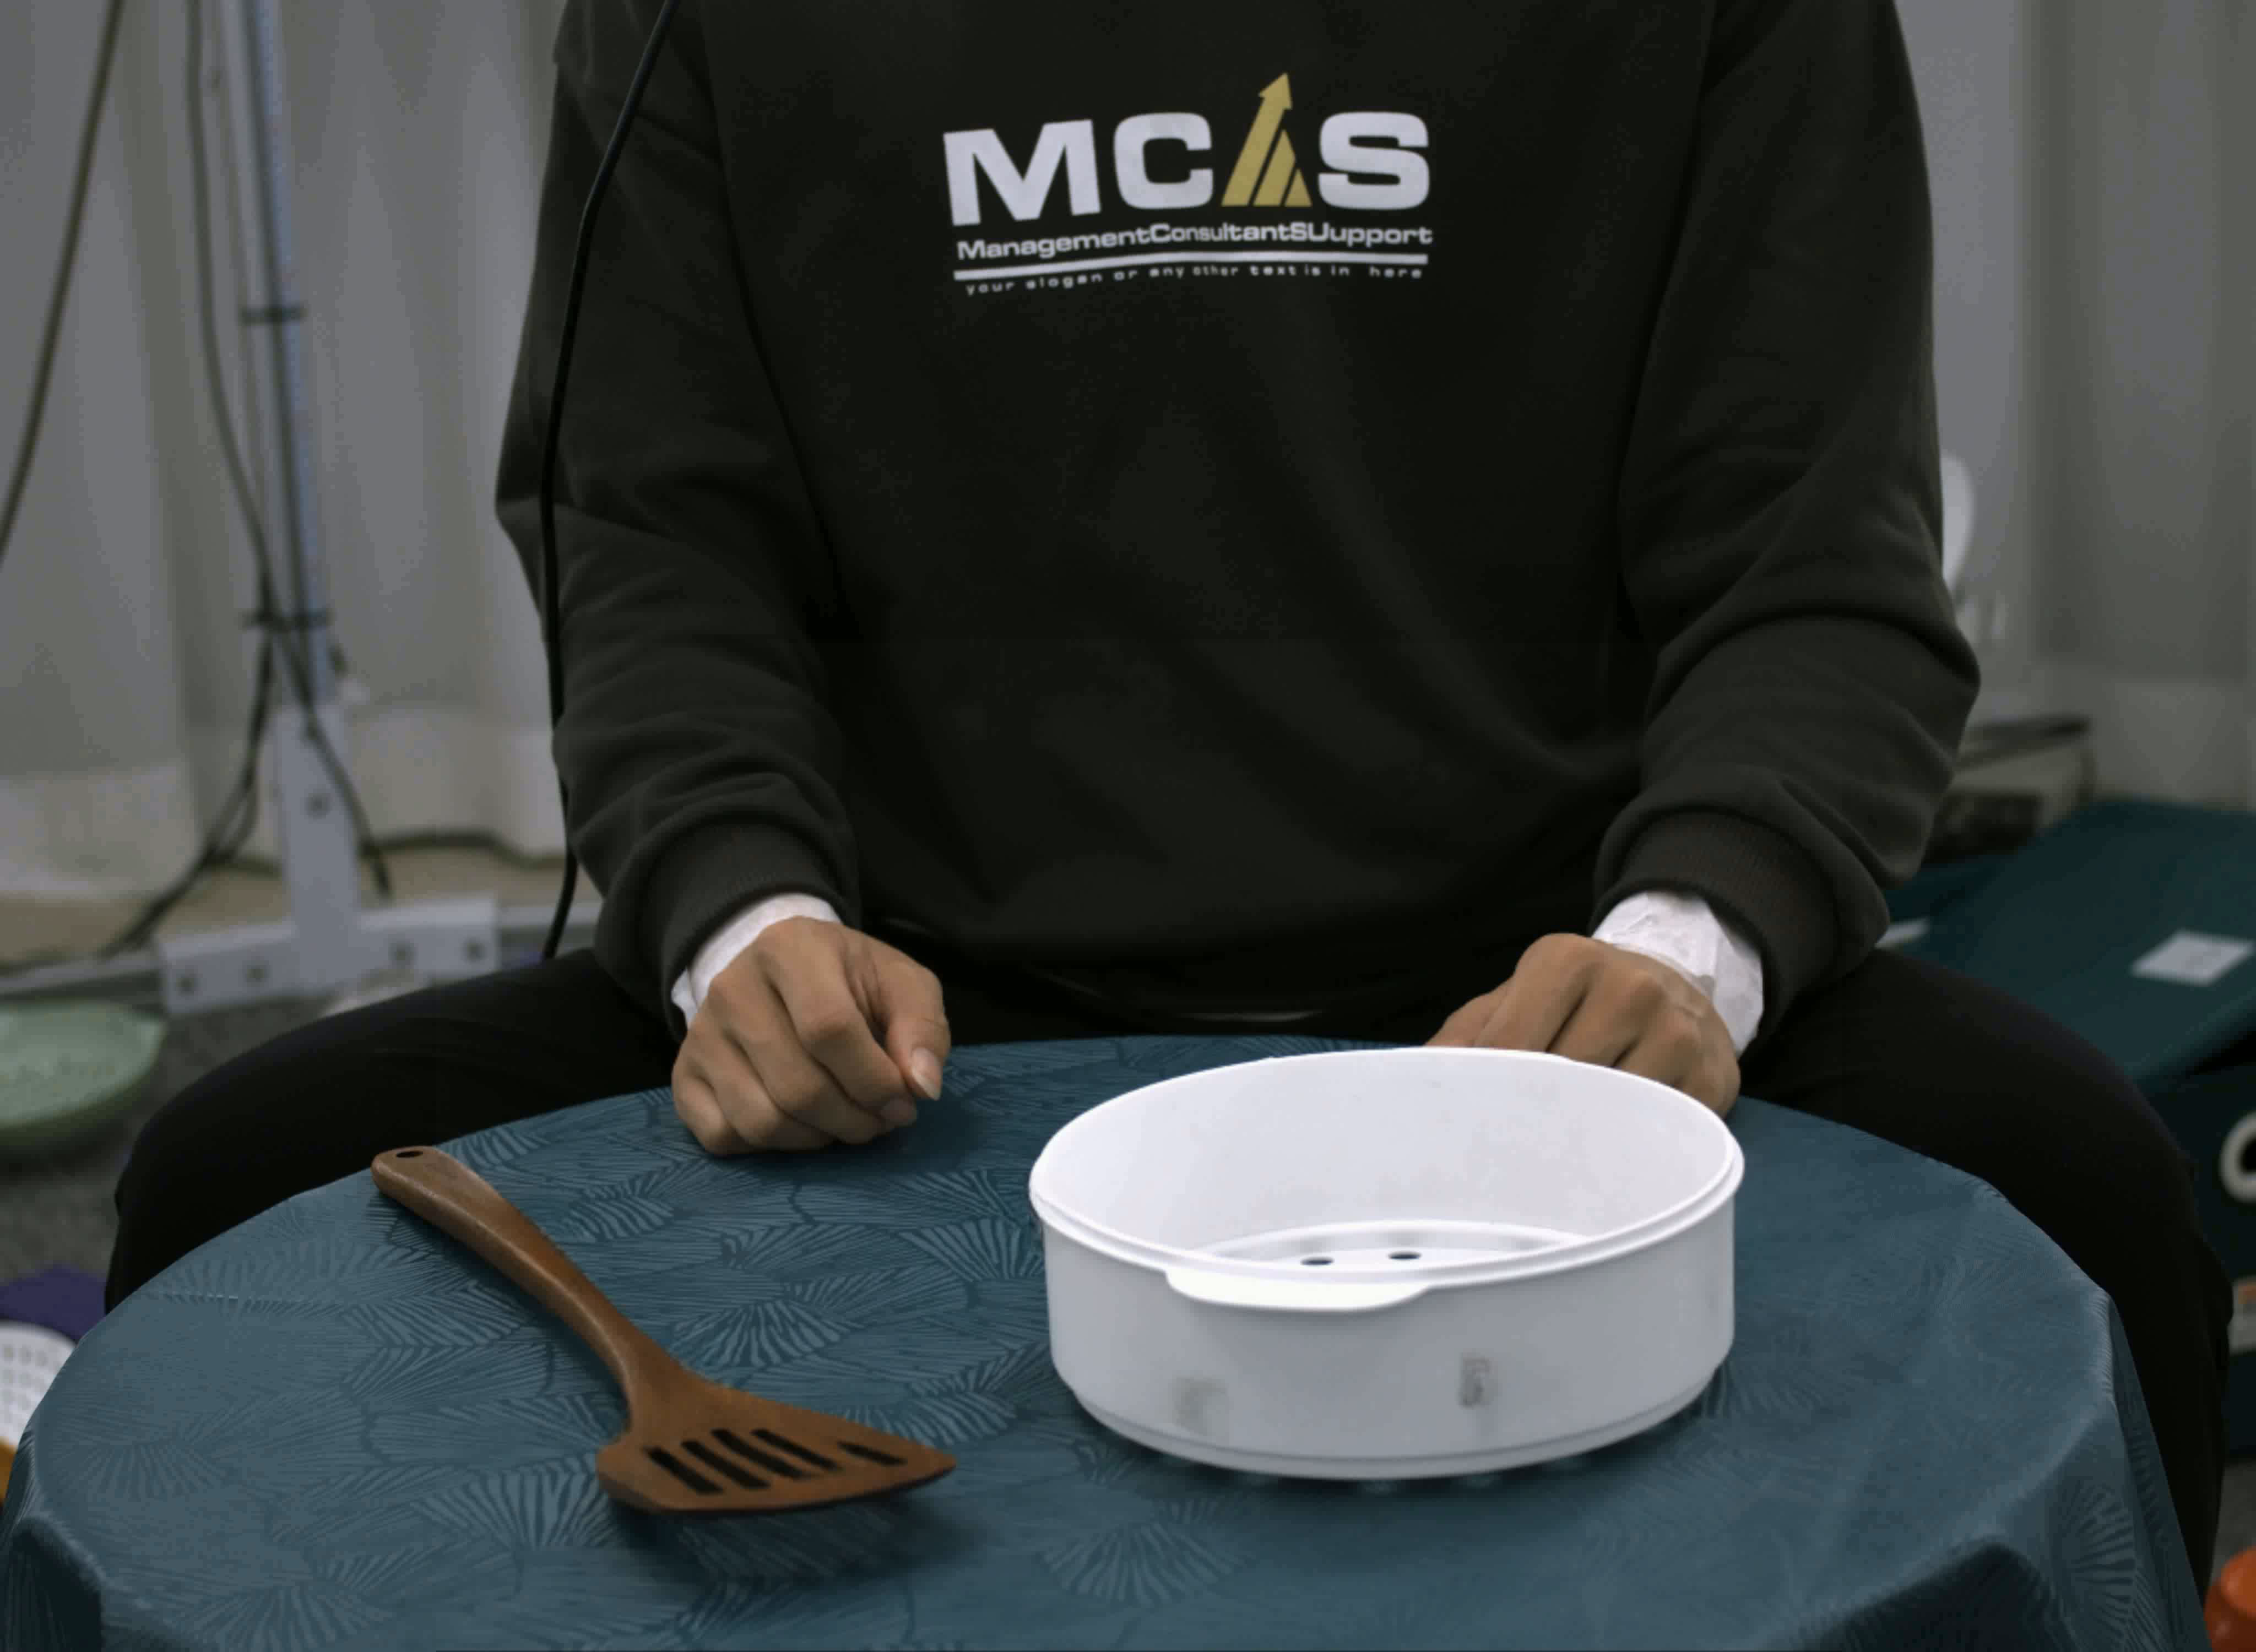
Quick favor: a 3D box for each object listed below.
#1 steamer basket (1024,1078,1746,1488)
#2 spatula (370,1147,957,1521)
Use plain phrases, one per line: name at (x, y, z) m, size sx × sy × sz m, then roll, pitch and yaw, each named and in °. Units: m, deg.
steamer basket at (0.071, 0.128, 1.536) m, size 0.202 × 0.069 × 0.231 m, roll 4°, pitch 13°, yaw 17°
spatula at (-0.157, 0.146, 1.589) m, size 0.085 × 0.023 × 0.388 m, roll -6°, pitch 14°, yaw -24°
